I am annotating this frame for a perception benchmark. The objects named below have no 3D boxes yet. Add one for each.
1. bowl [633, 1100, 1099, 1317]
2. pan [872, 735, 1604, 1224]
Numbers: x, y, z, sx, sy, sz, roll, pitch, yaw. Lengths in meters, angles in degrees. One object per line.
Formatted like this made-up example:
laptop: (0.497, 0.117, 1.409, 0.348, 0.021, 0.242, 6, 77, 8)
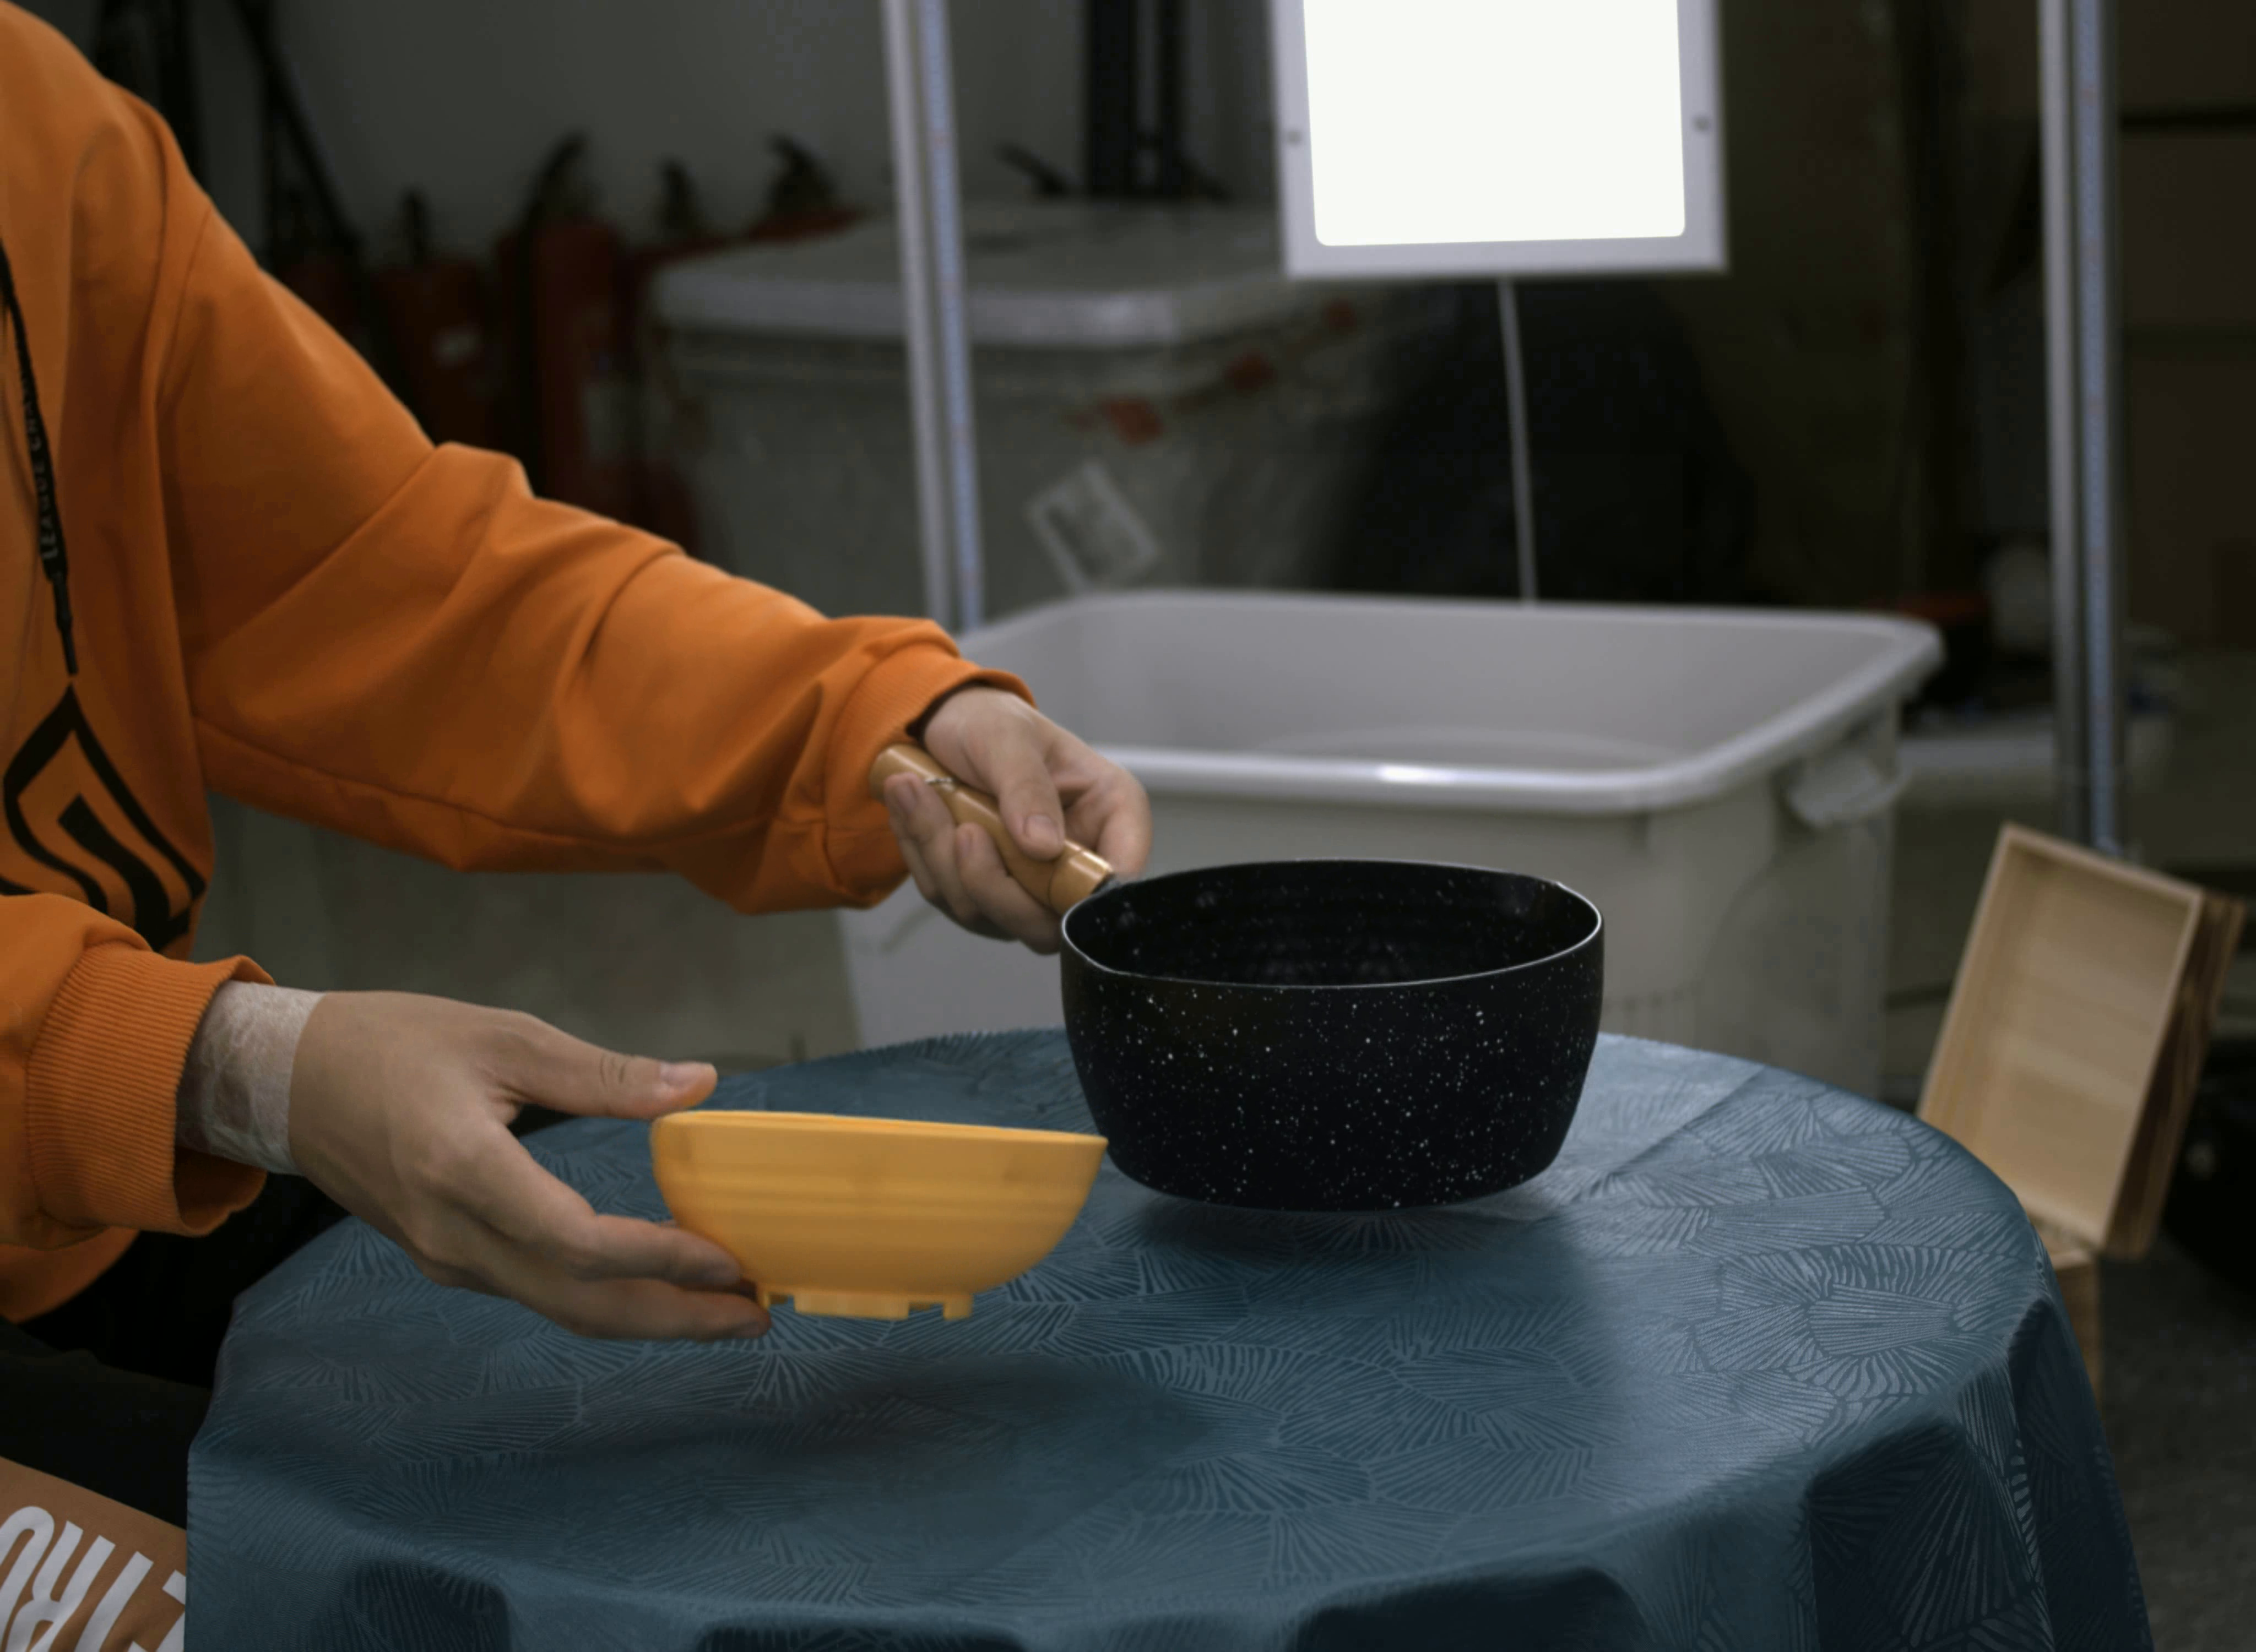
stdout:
bowl: (-0.082, 0.119, 1.693, 0.145, 0.060, 0.145, 4, -4, -1)
pan: (0.018, 0.048, 1.916, 0.202, 0.109, 0.350, -13, 18, -37)
